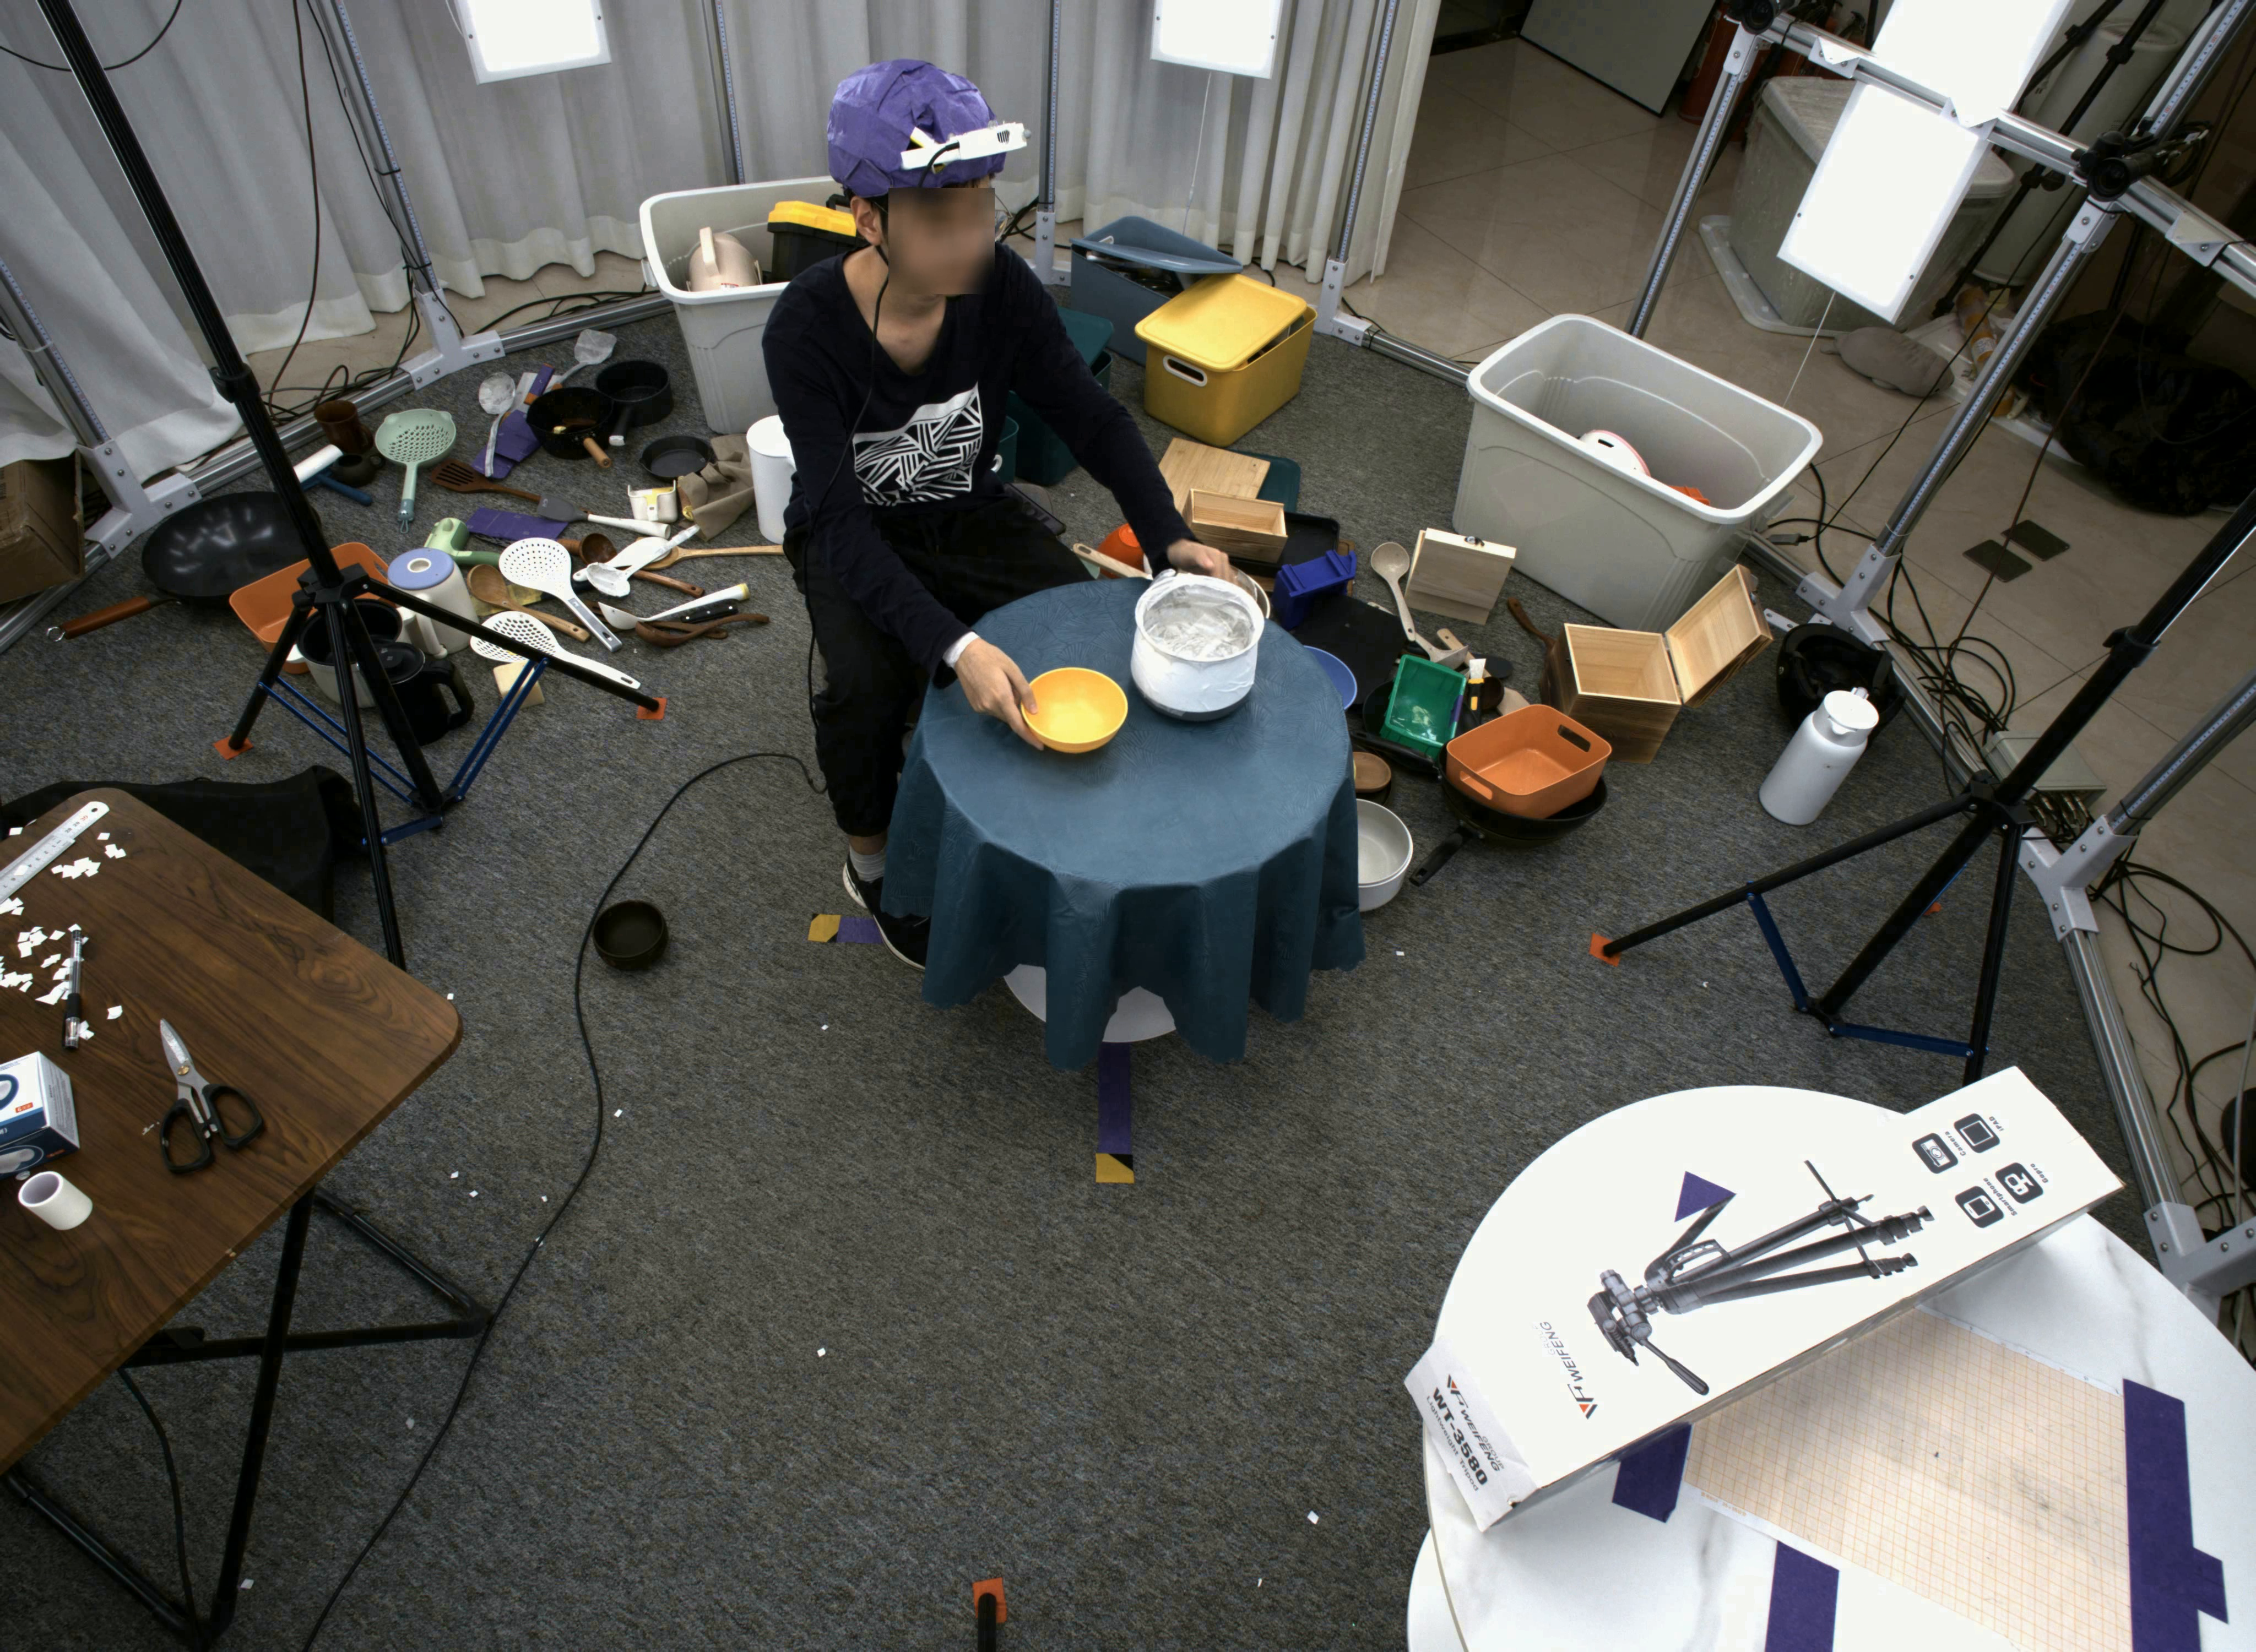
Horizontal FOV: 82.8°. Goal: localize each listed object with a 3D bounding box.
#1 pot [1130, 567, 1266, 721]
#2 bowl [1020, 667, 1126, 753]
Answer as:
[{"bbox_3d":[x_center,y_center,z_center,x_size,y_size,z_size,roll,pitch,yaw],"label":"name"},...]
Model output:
[{"bbox_3d":[0.083,-0.266,1.814,0.179,0.133,0.239,-15,53,-20],"label":"pot"},{"bbox_3d":[-0.076,-0.147,1.750,0.145,0.058,0.149,3,49,-4],"label":"bowl"}]
